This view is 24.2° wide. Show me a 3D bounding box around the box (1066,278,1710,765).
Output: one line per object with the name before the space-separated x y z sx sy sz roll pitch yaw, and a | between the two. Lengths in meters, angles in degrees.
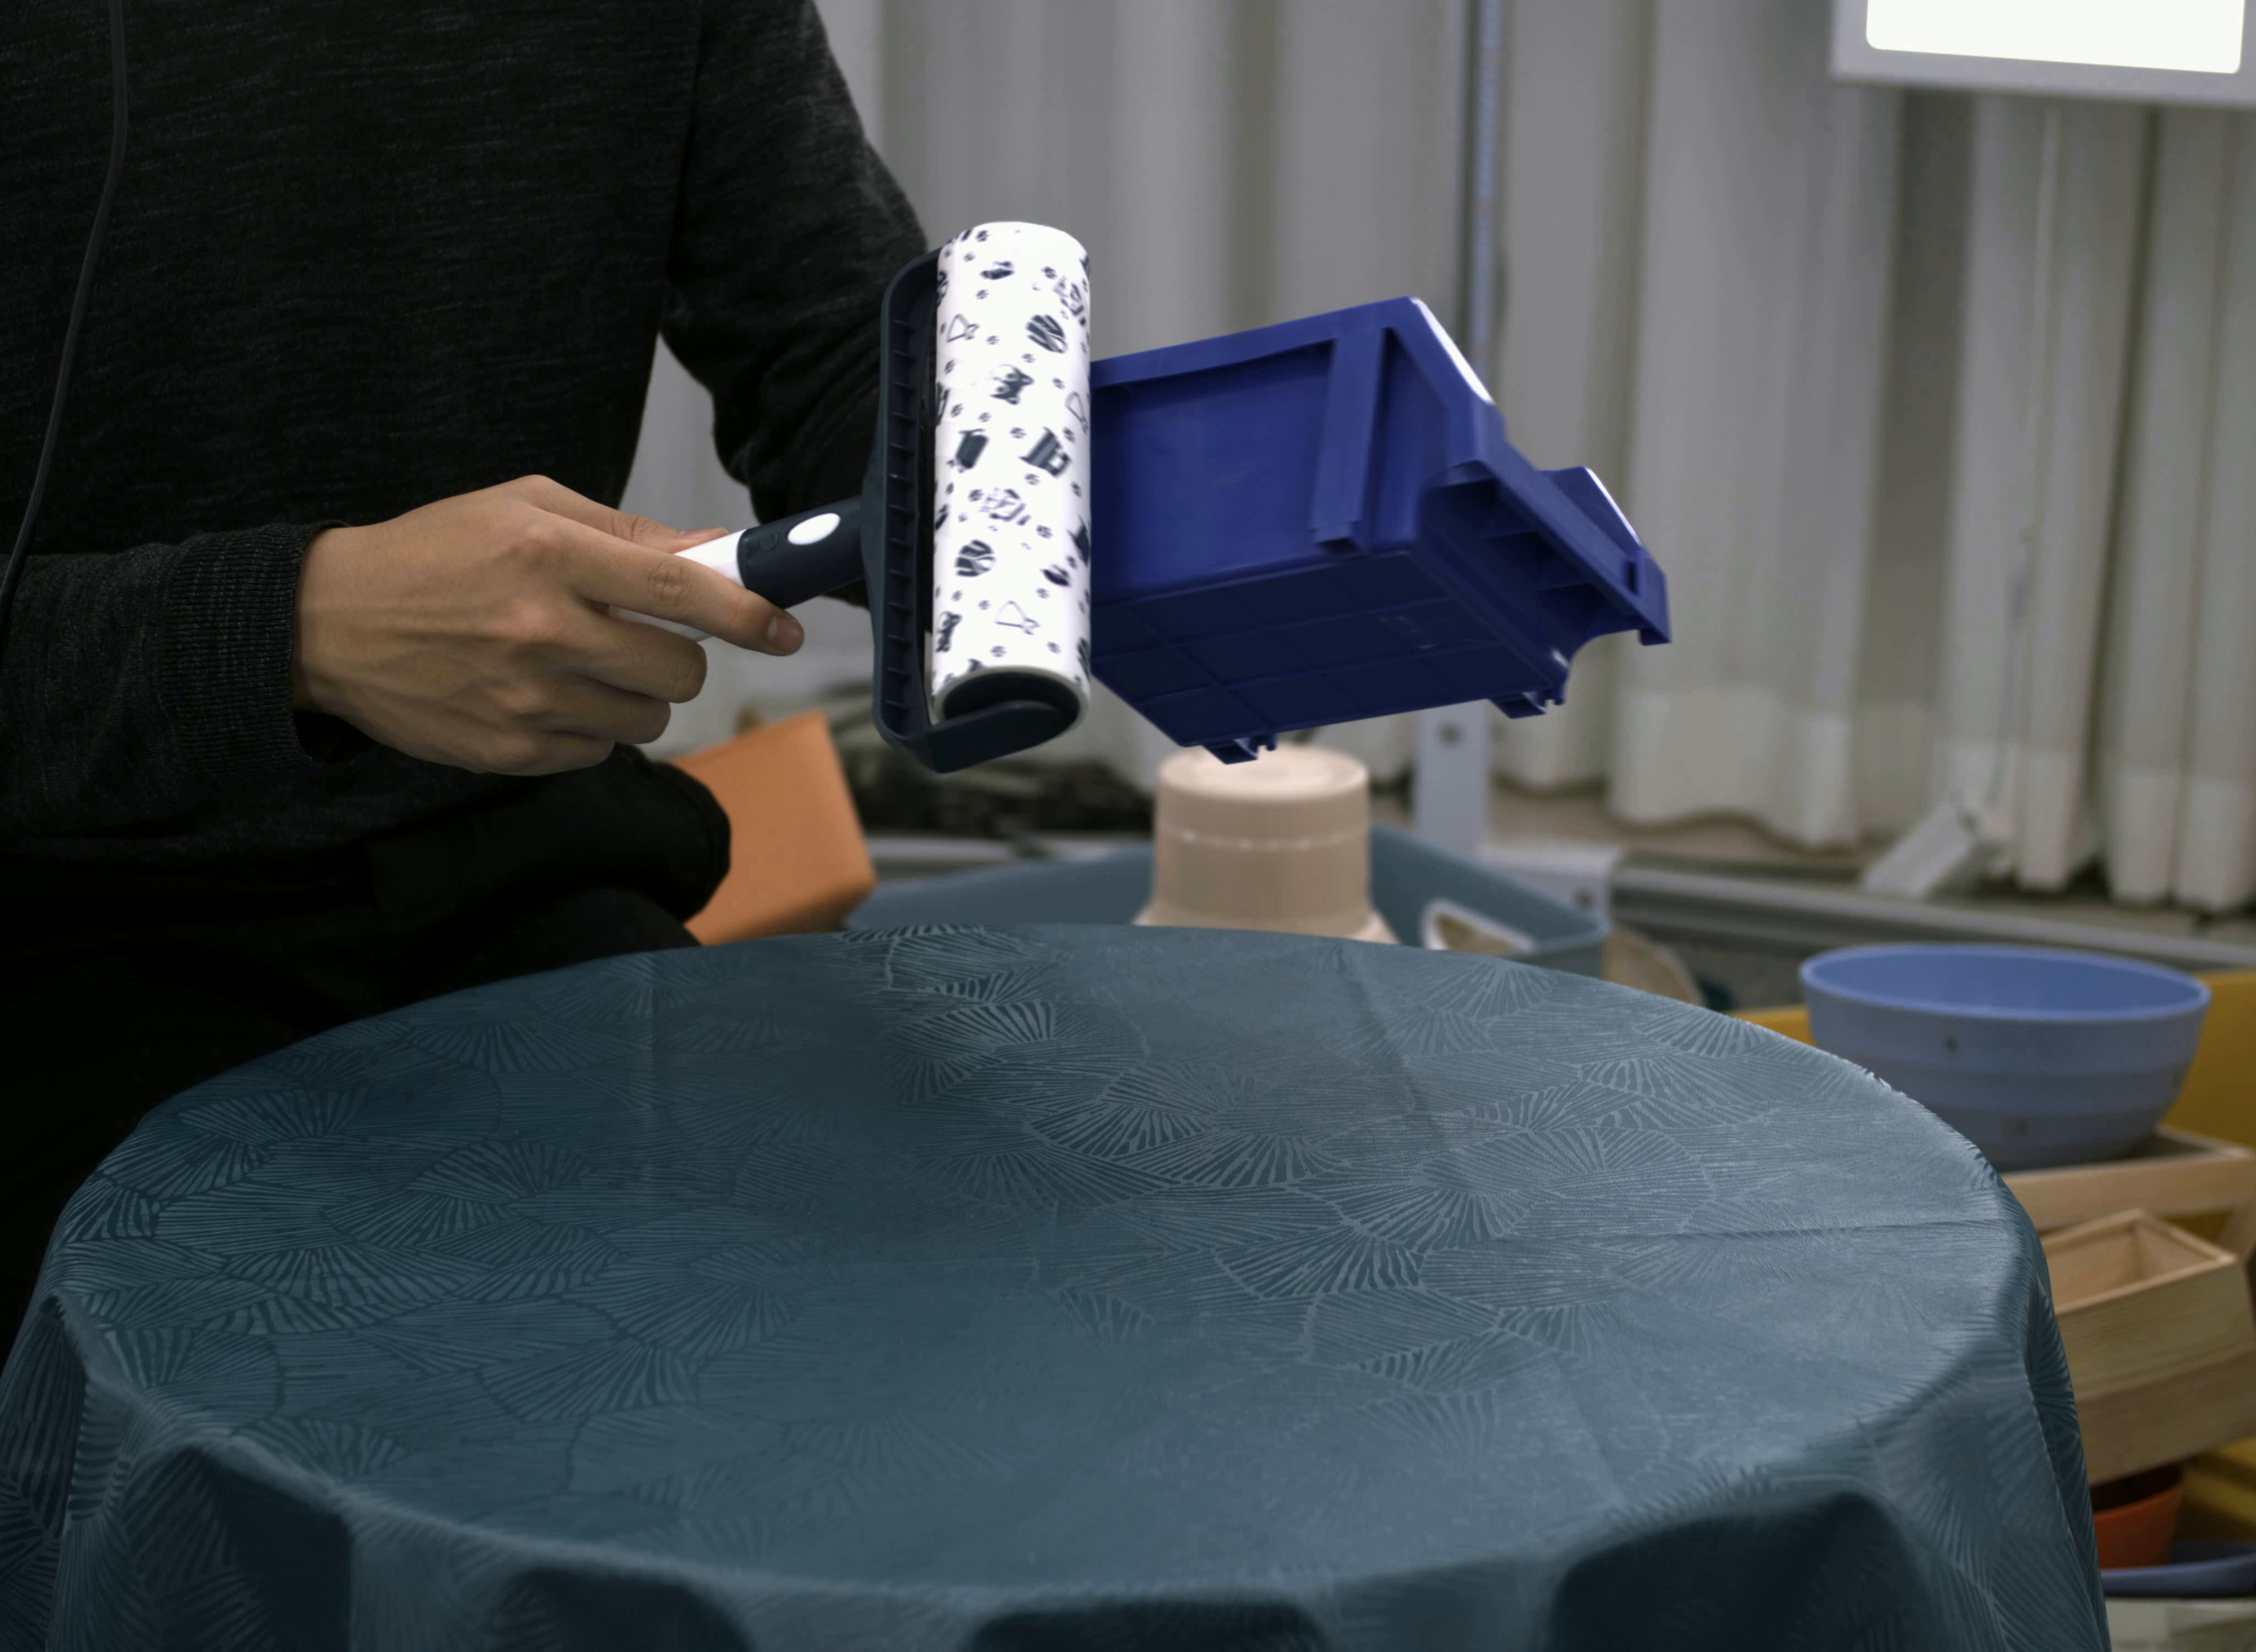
box | 0.073 -0.090 1.602 0.178 0.081 0.126 -12 -32 31

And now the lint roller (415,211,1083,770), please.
lint roller | -0.122 -0.077 1.610 0.245 0.175 0.051 -17 -33 25
